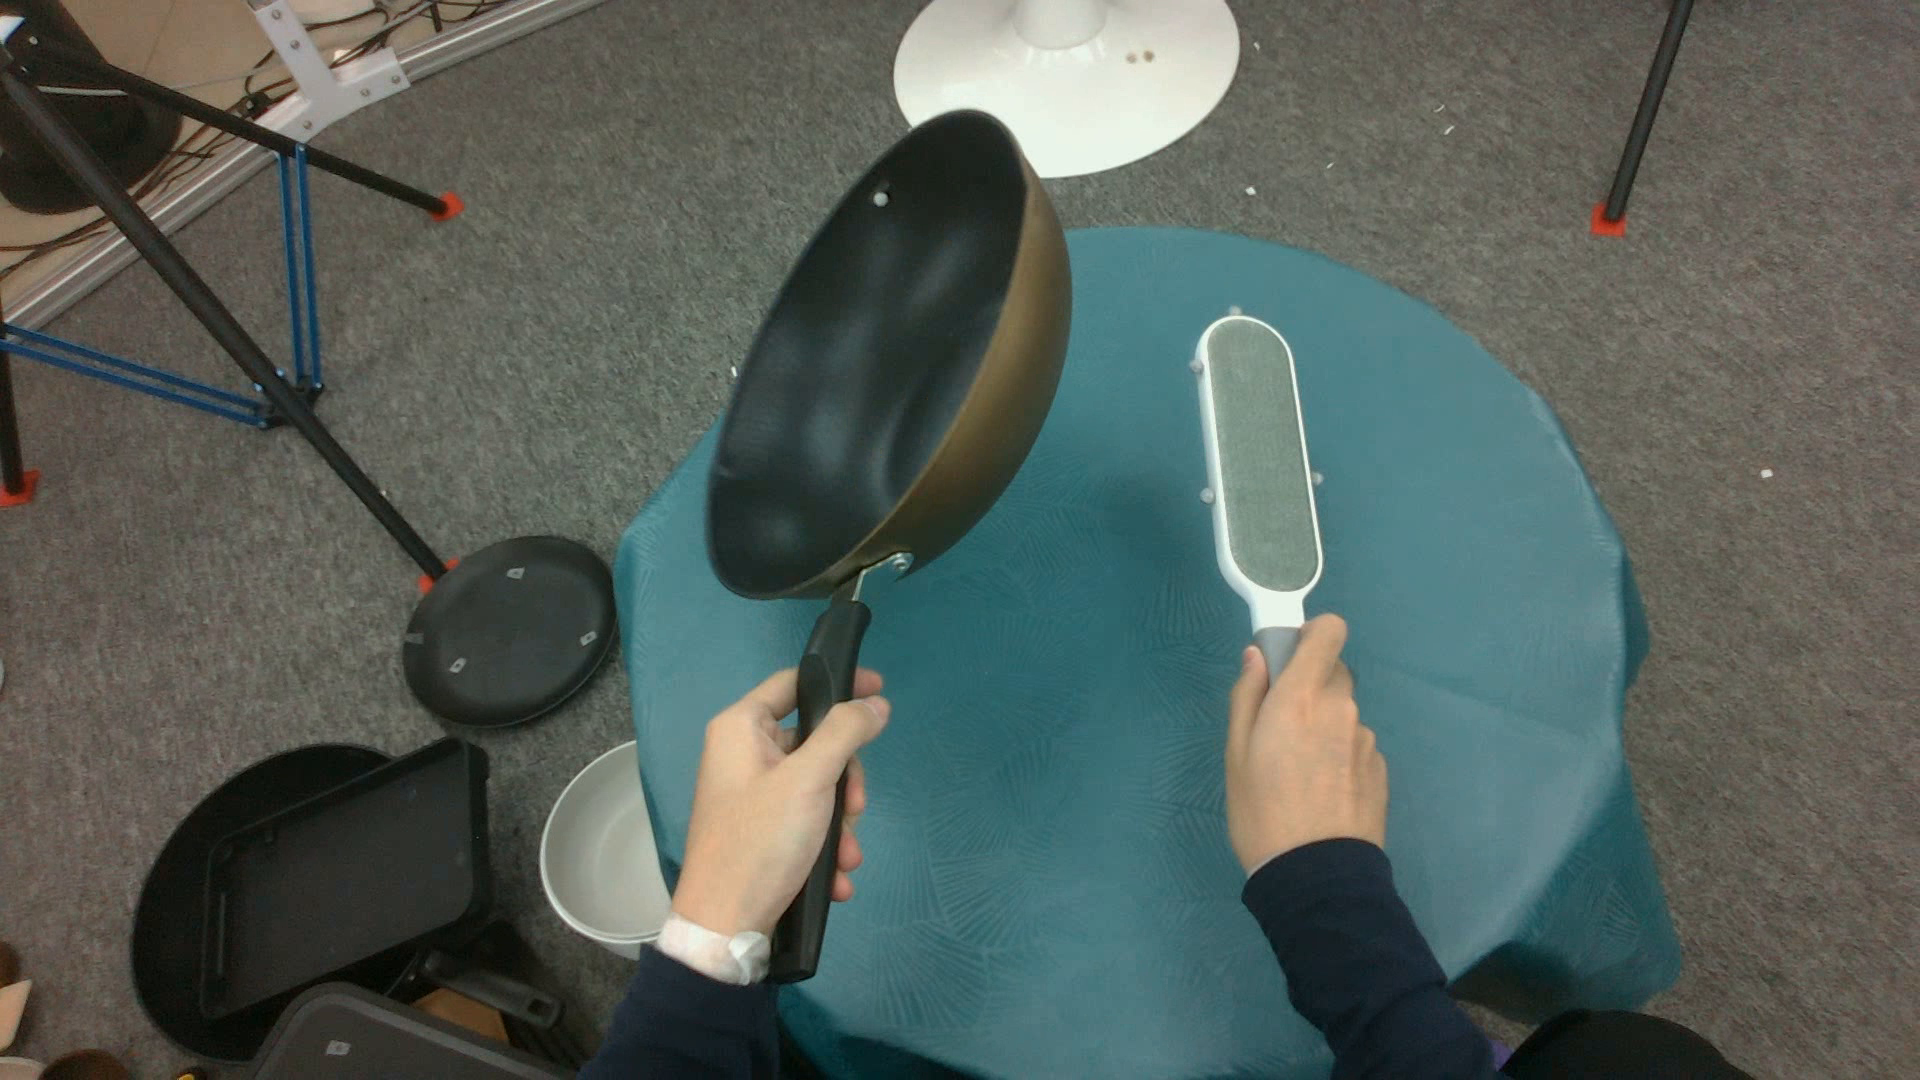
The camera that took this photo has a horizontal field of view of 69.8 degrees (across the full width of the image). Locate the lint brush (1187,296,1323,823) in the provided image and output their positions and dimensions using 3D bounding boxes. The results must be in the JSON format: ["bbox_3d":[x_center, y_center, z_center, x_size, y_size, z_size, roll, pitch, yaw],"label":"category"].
[{"bbox_3d":[0.159,-0.002,0.731,0.060,0.021,0.310,7,61,-16],"label":"lint brush"}]

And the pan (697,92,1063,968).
[{"bbox_3d":[-0.038,-0.017,0.689,0.287,0.087,0.465,-33,44,41],"label":"pan"}]
